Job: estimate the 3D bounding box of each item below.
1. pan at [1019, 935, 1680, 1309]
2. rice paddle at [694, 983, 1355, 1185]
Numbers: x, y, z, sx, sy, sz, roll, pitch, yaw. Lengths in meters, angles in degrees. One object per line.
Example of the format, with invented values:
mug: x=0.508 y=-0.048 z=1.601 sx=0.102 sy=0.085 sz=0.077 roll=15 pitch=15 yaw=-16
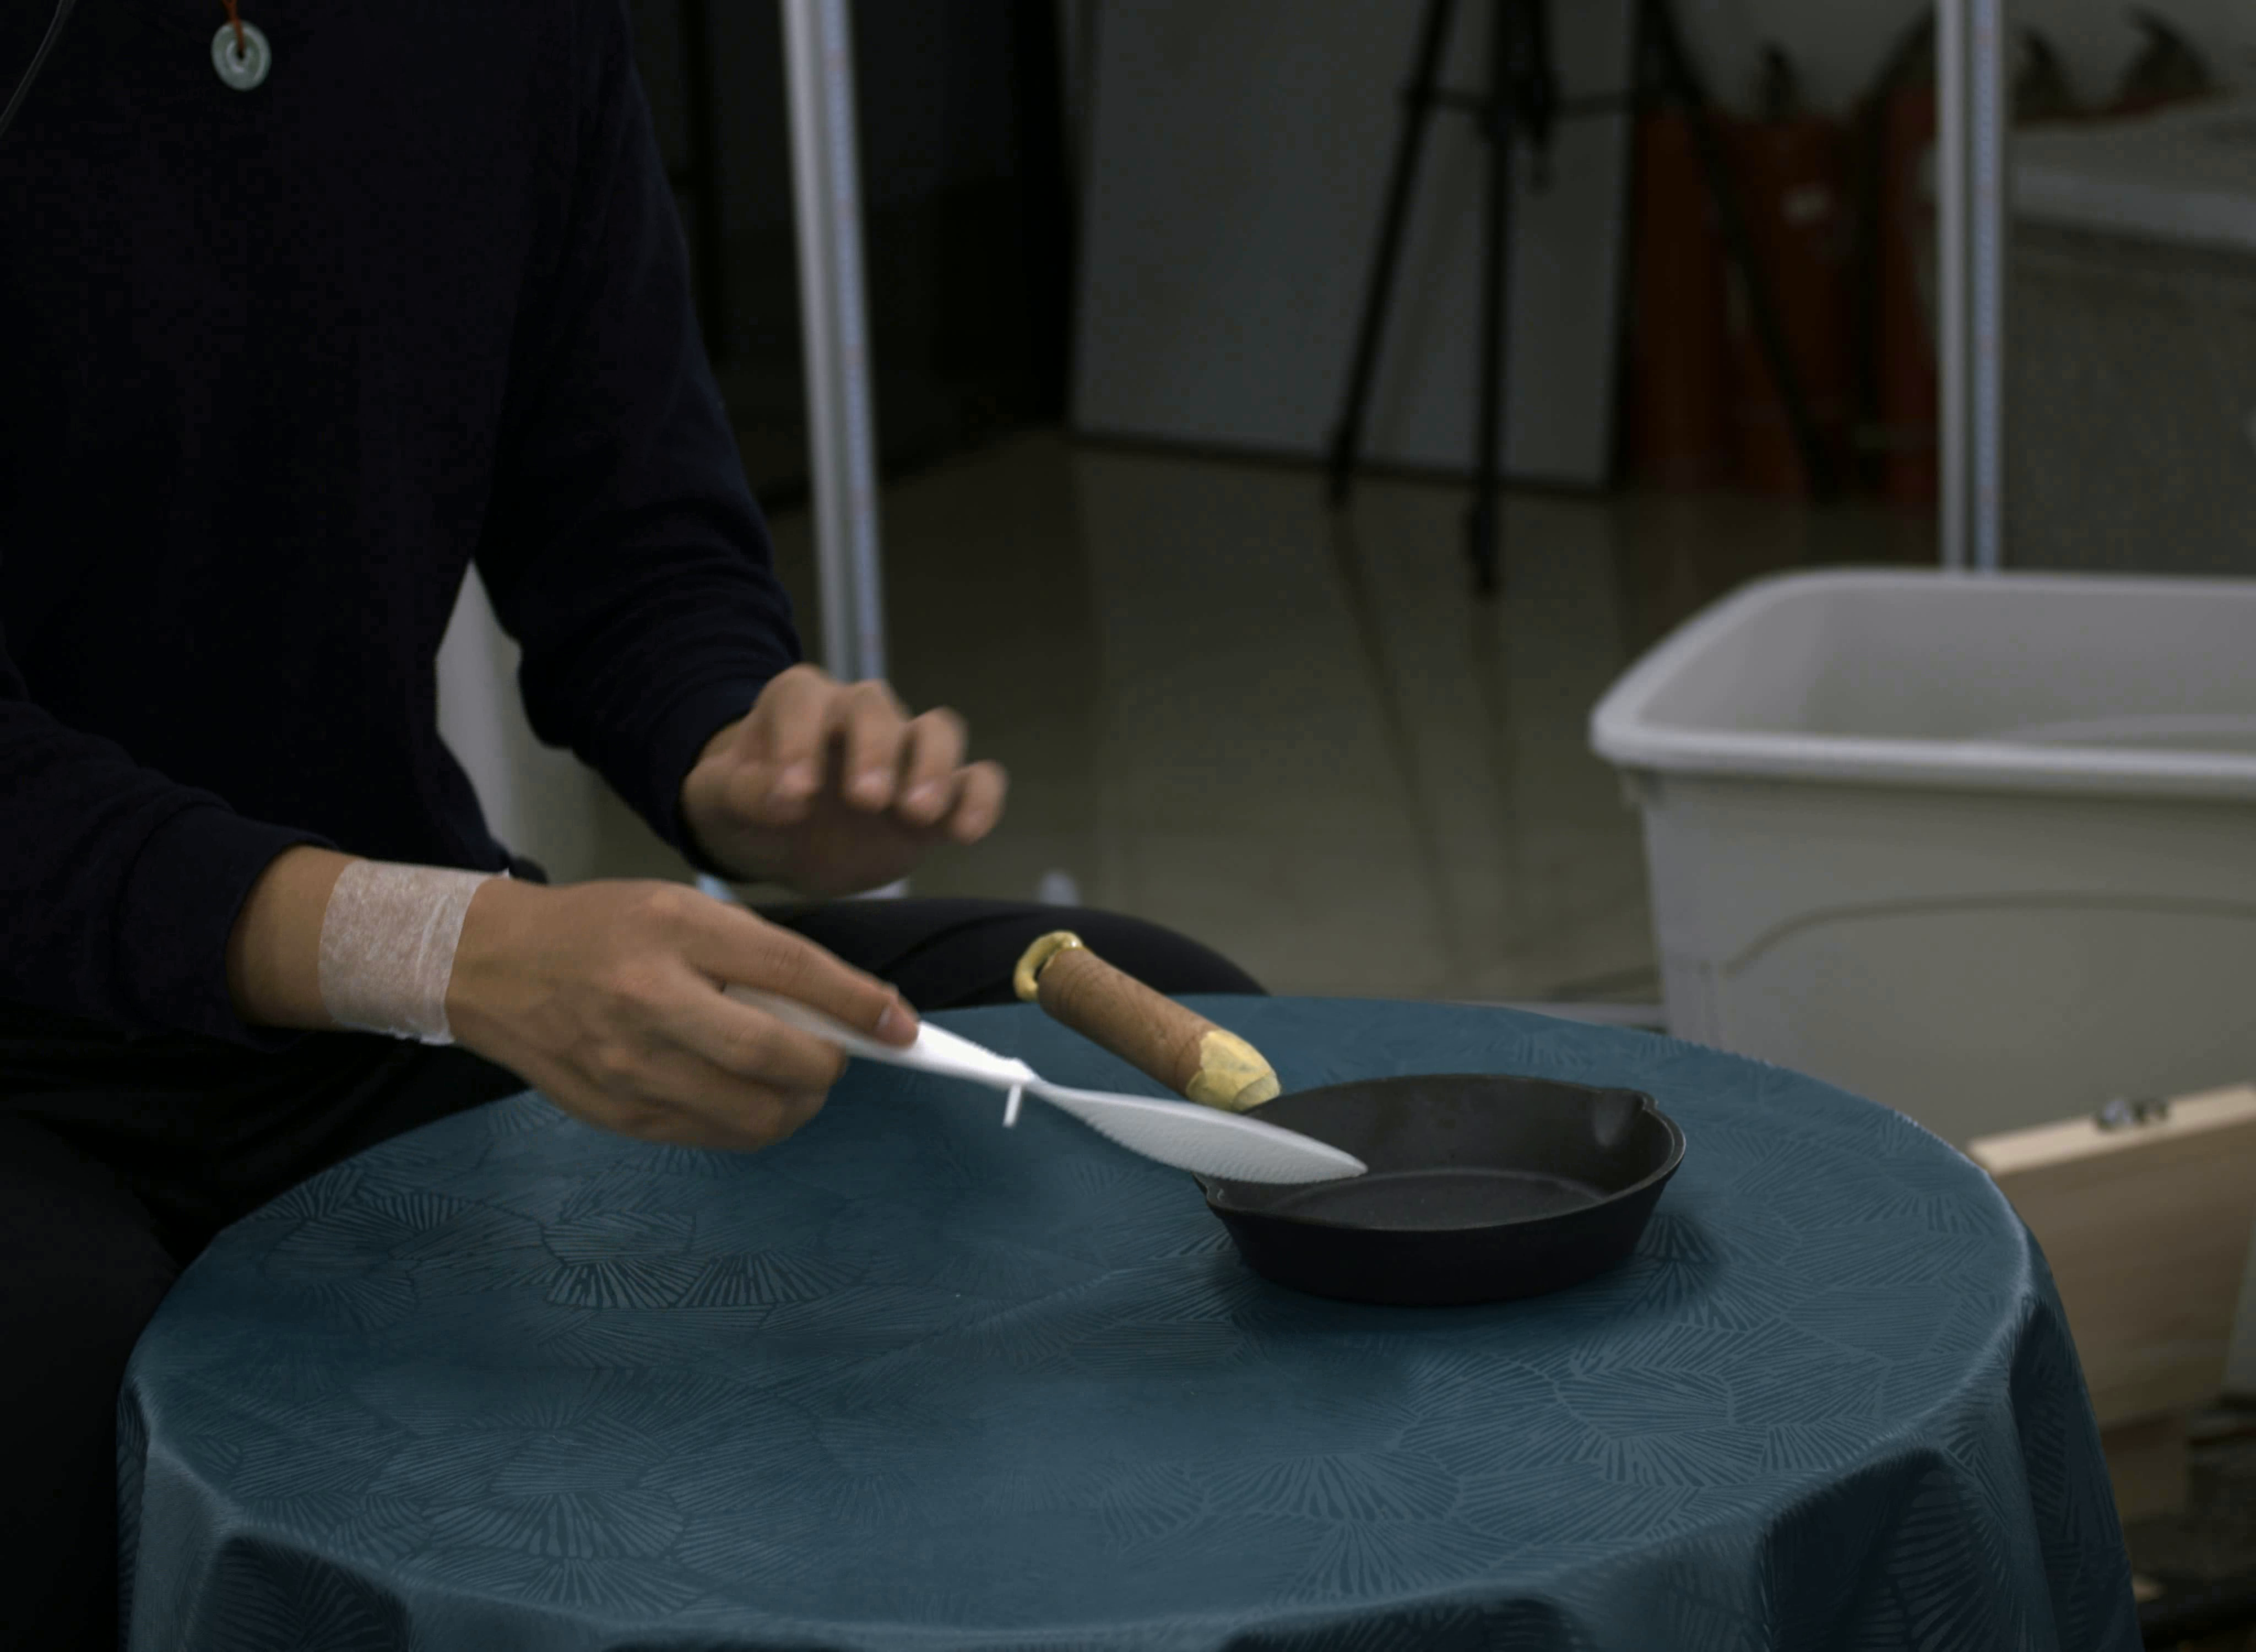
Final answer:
pan: x=0.054 y=0.093 z=1.765 sx=0.165 sy=0.050 sz=0.327 roll=-12 pitch=17 yaw=-28
rice paddle: x=-0.030 y=0.081 z=1.626 sx=0.204 sy=0.030 sz=0.068 roll=11 pitch=0 yaw=10
